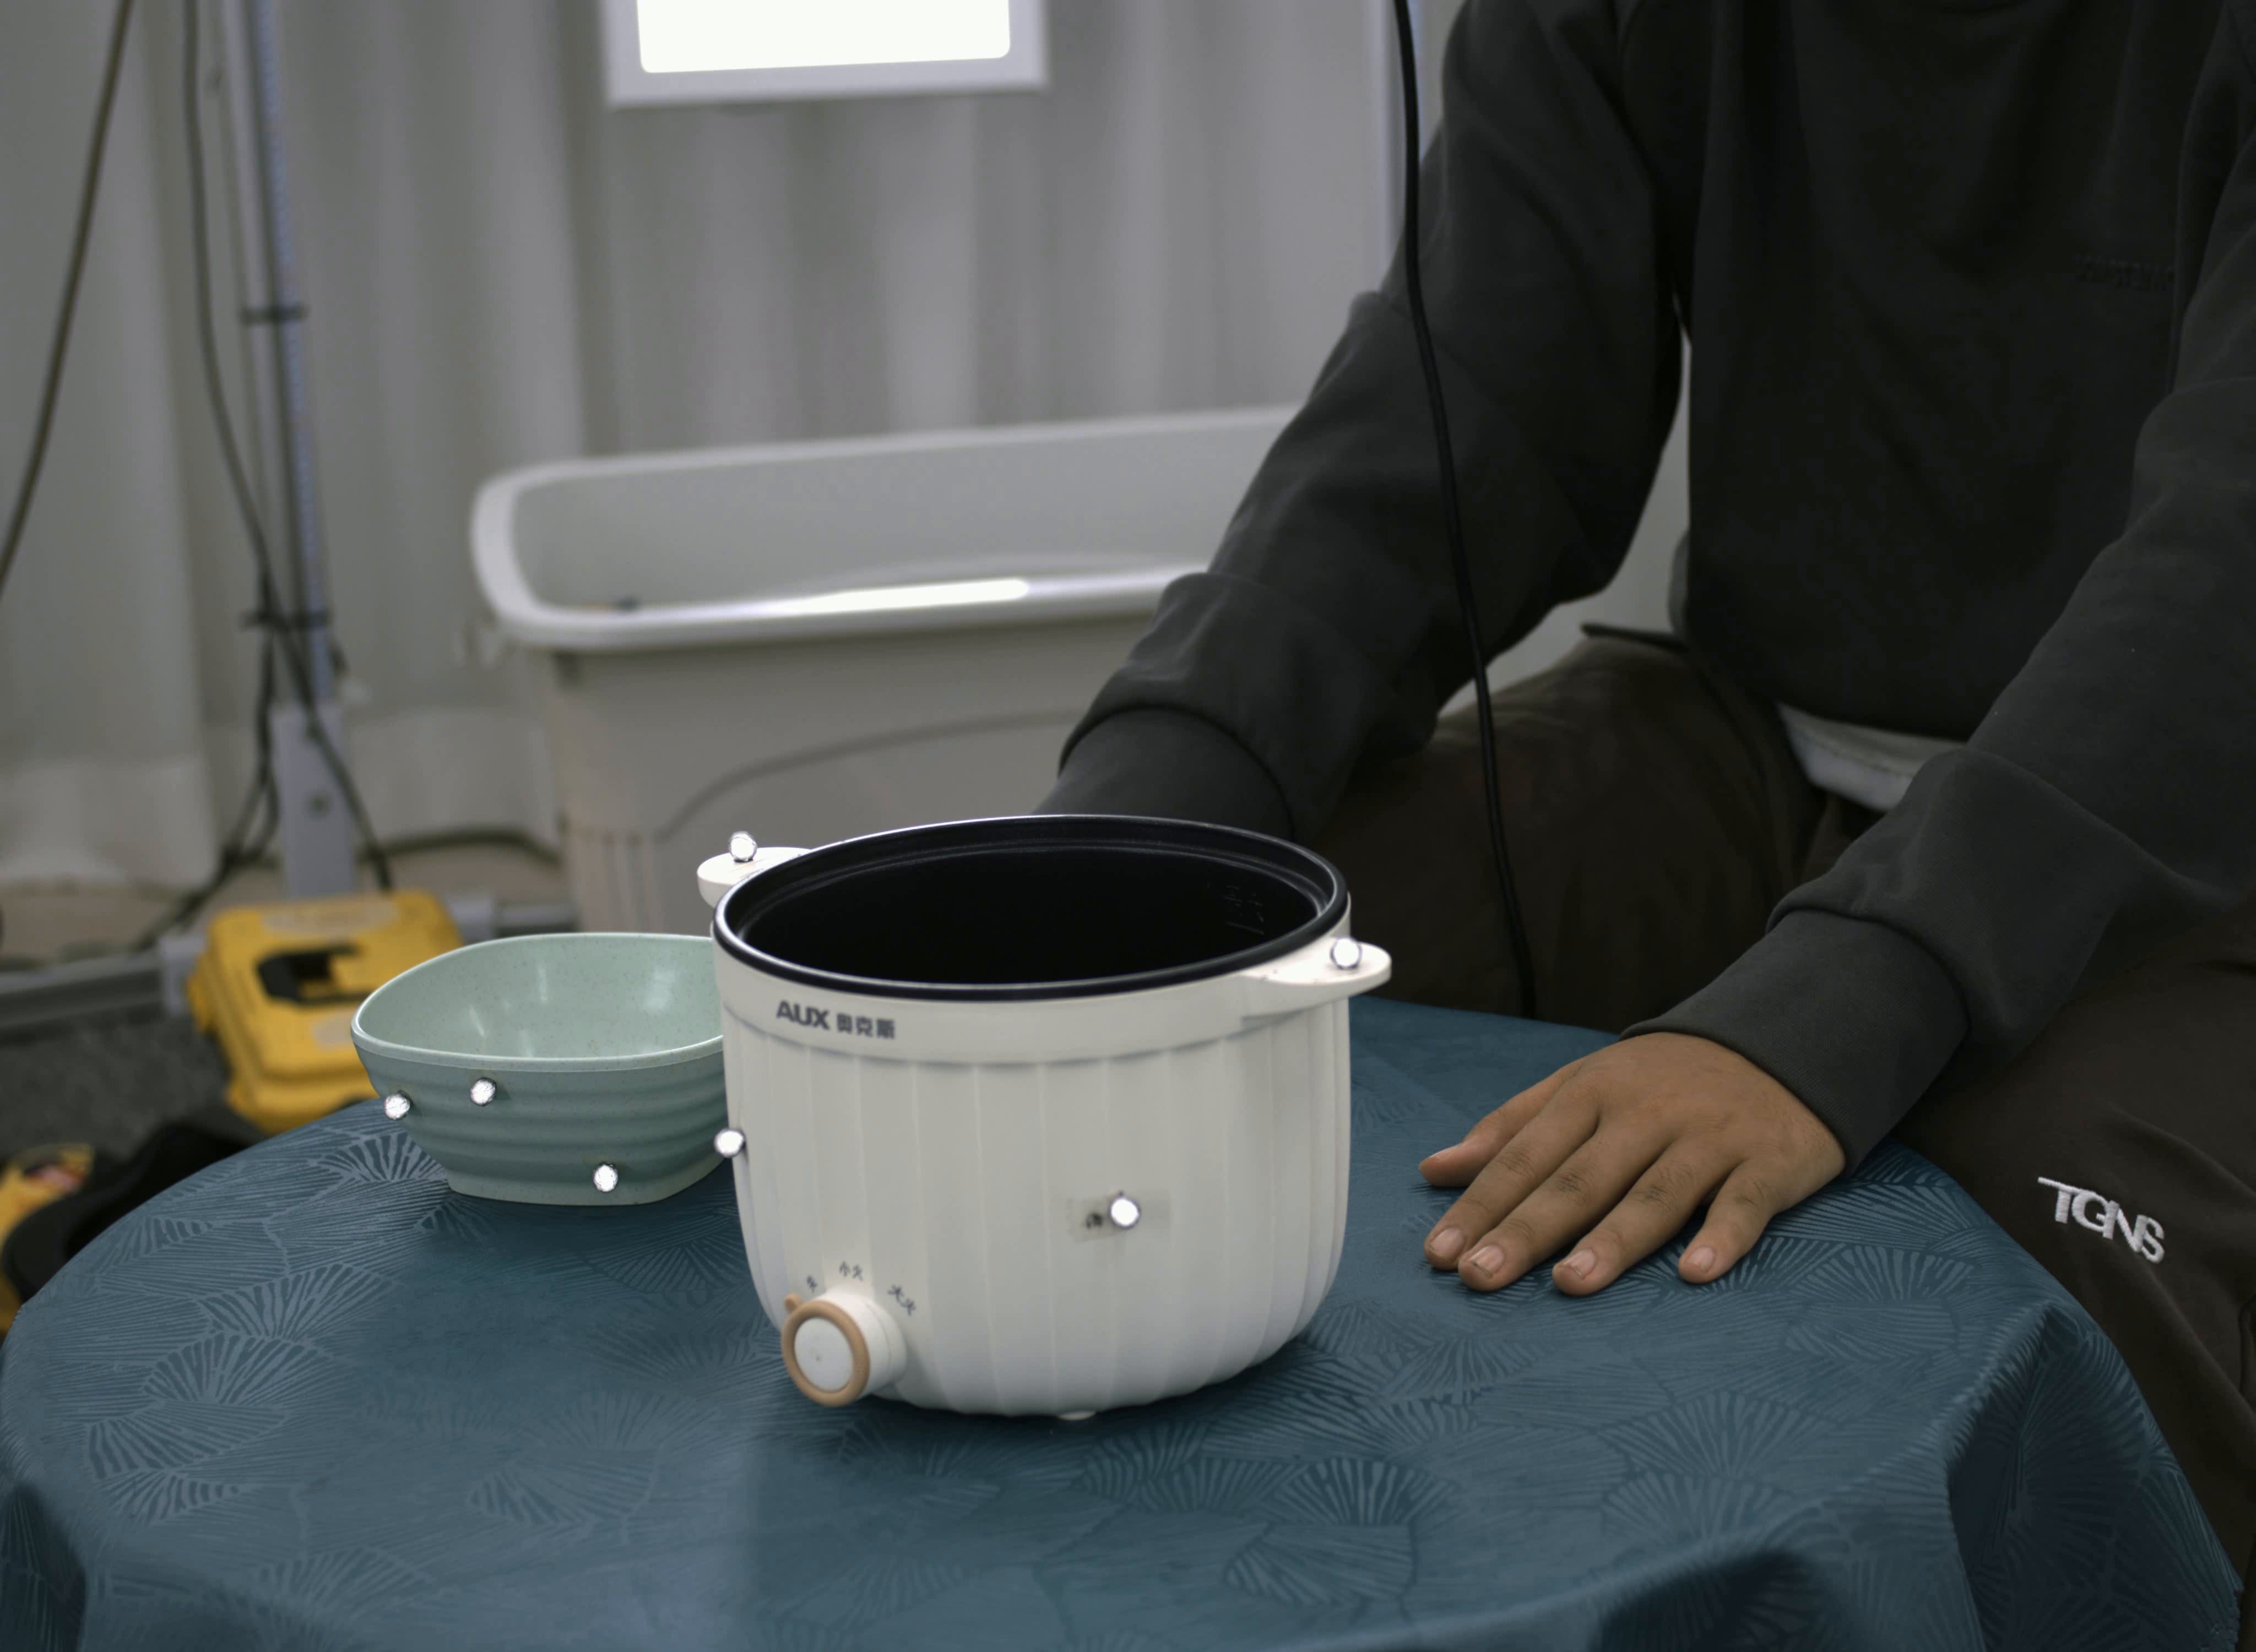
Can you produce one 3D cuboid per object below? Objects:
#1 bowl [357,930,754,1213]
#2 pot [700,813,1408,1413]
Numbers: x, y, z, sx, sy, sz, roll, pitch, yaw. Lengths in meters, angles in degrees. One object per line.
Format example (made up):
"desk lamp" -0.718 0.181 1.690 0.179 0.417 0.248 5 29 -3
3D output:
"bowl" -0.172 0.082 1.761 0.151 0.058 0.152 -3 16 1
"pot" -0.024 0.084 1.564 0.241 0.142 0.190 6 13 36
